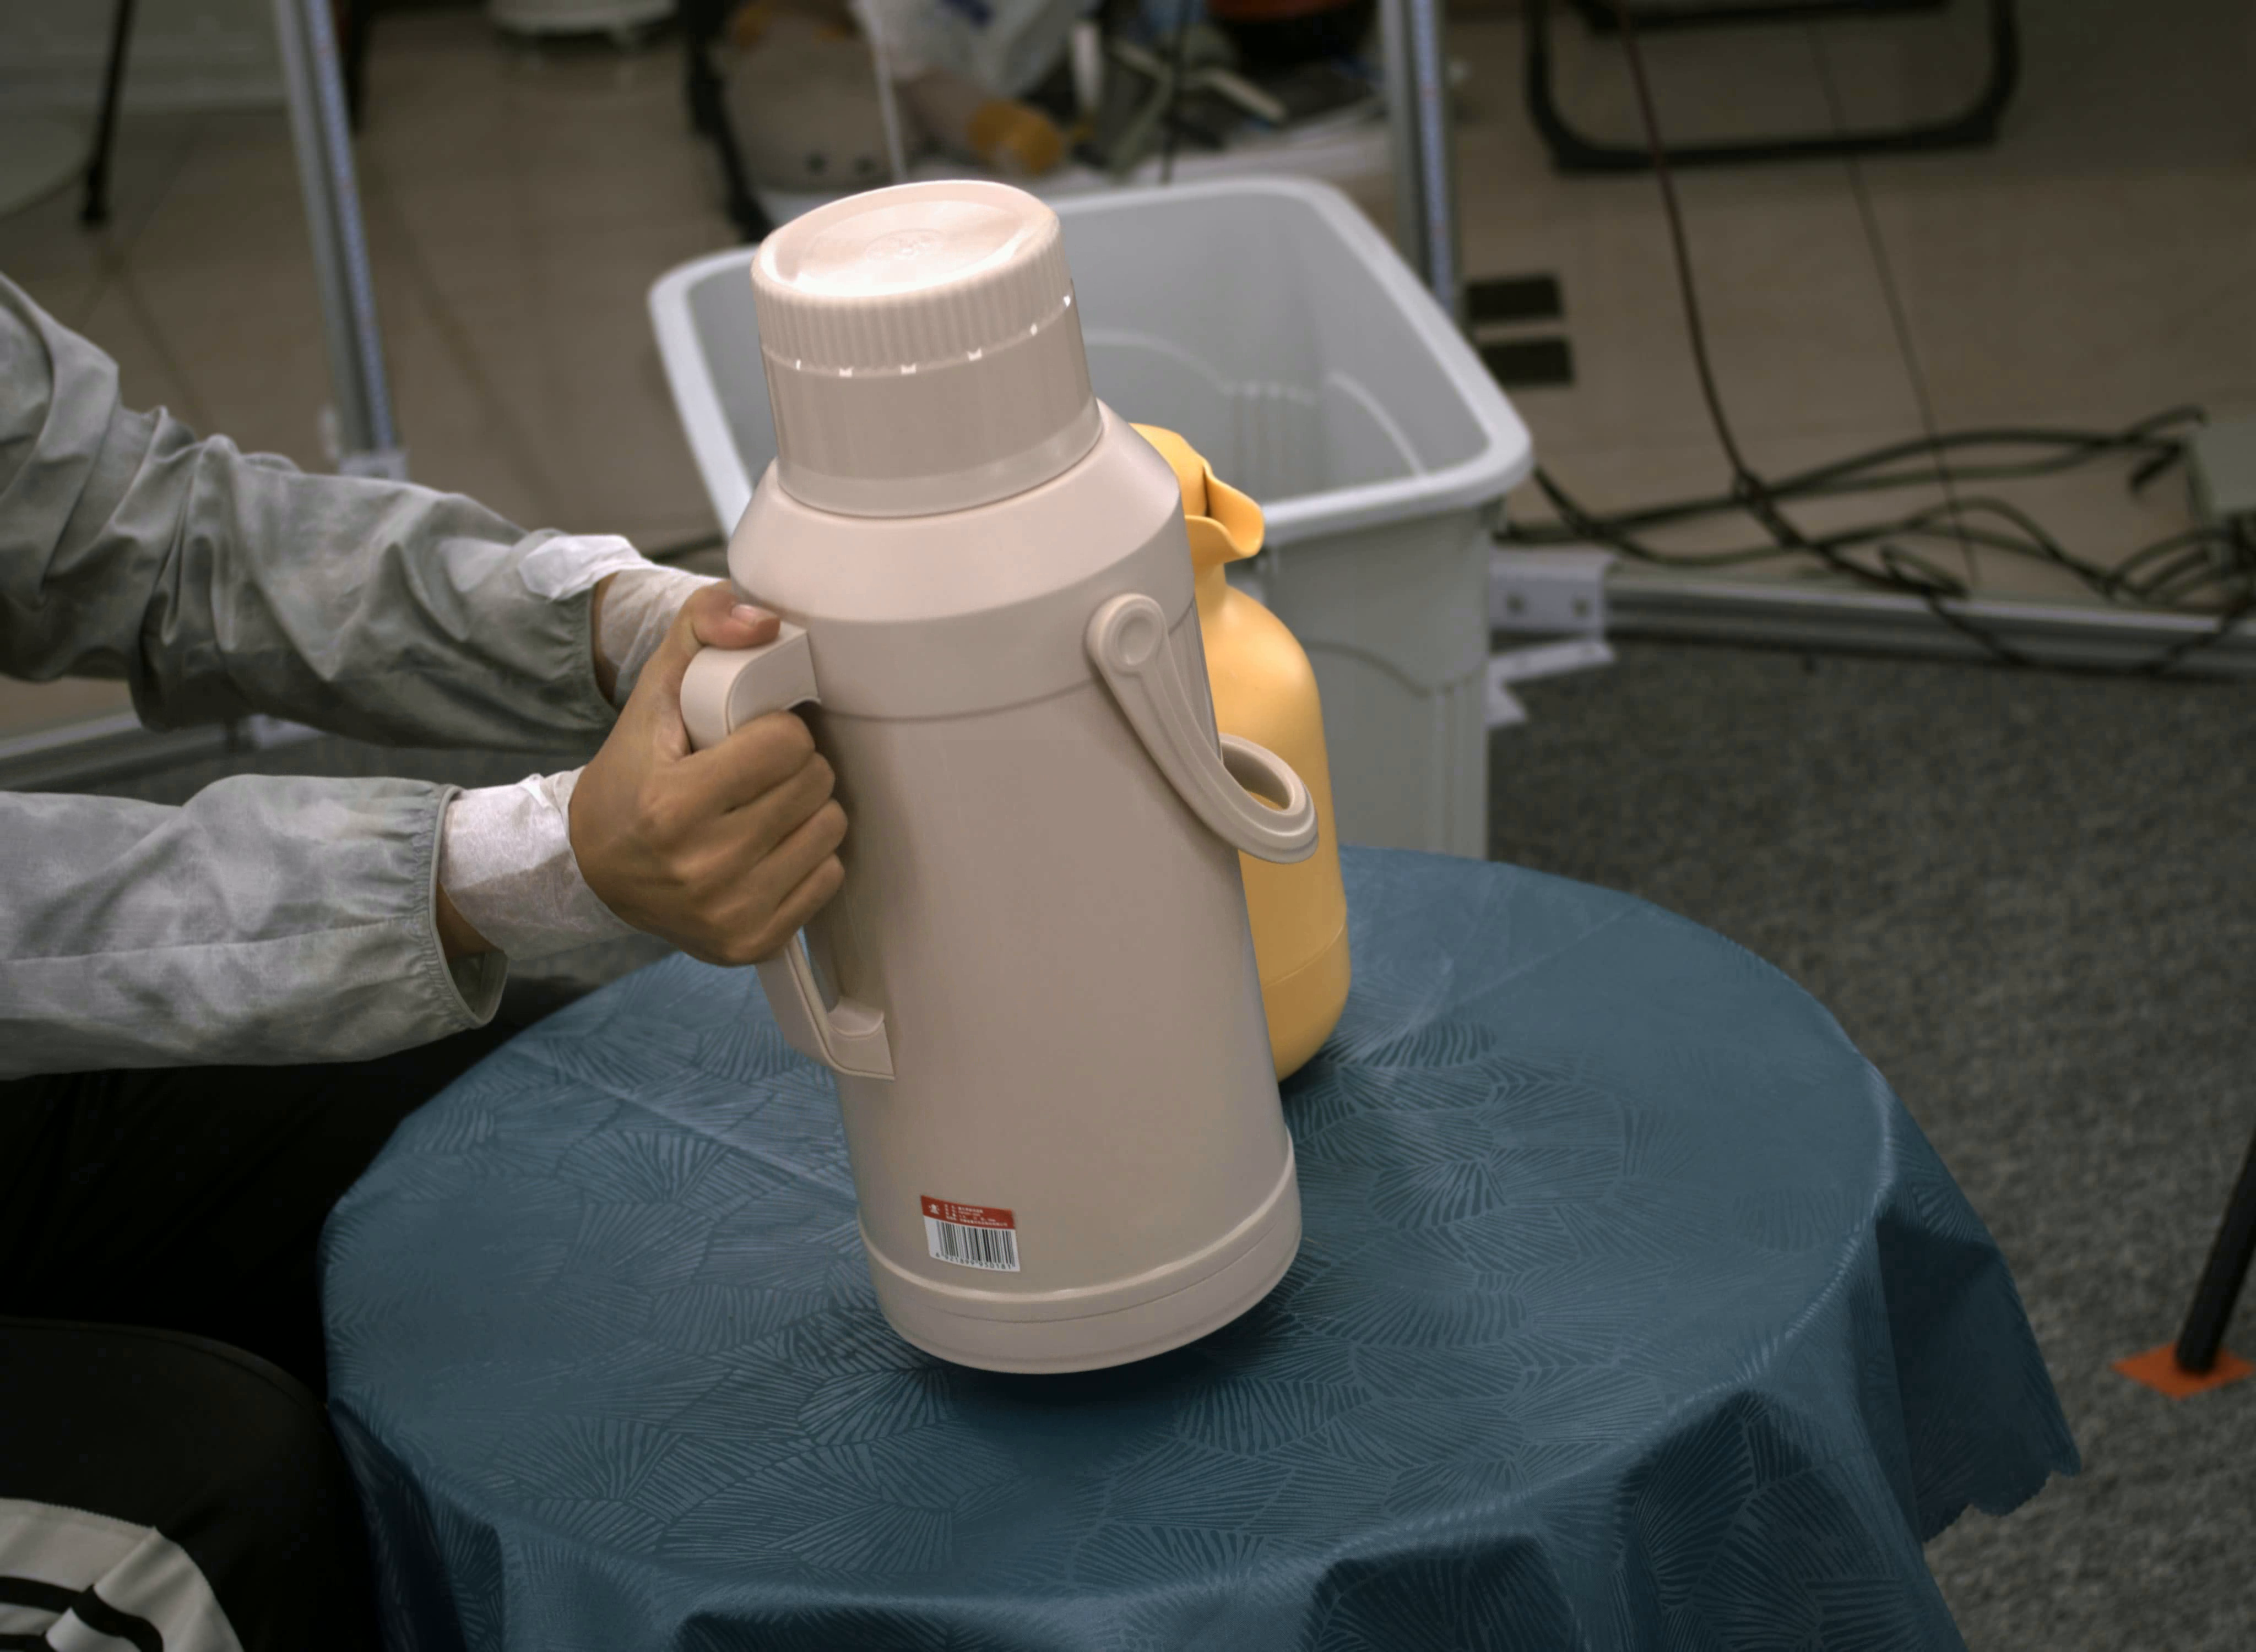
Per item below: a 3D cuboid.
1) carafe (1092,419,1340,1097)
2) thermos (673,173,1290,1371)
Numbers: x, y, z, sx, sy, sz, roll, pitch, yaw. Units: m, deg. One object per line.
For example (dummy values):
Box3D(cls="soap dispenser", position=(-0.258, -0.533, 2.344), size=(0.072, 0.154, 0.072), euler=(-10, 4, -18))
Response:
Box3D(cls="carafe", position=(-0.019, -0.030, 2.203), size=(0.201, 0.264, 0.162), euler=(13, 30, 33))
Box3D(cls="thermos", position=(-0.058, -0.014, 1.959), size=(0.205, 0.413, 0.174), euler=(-29, 35, -33))
